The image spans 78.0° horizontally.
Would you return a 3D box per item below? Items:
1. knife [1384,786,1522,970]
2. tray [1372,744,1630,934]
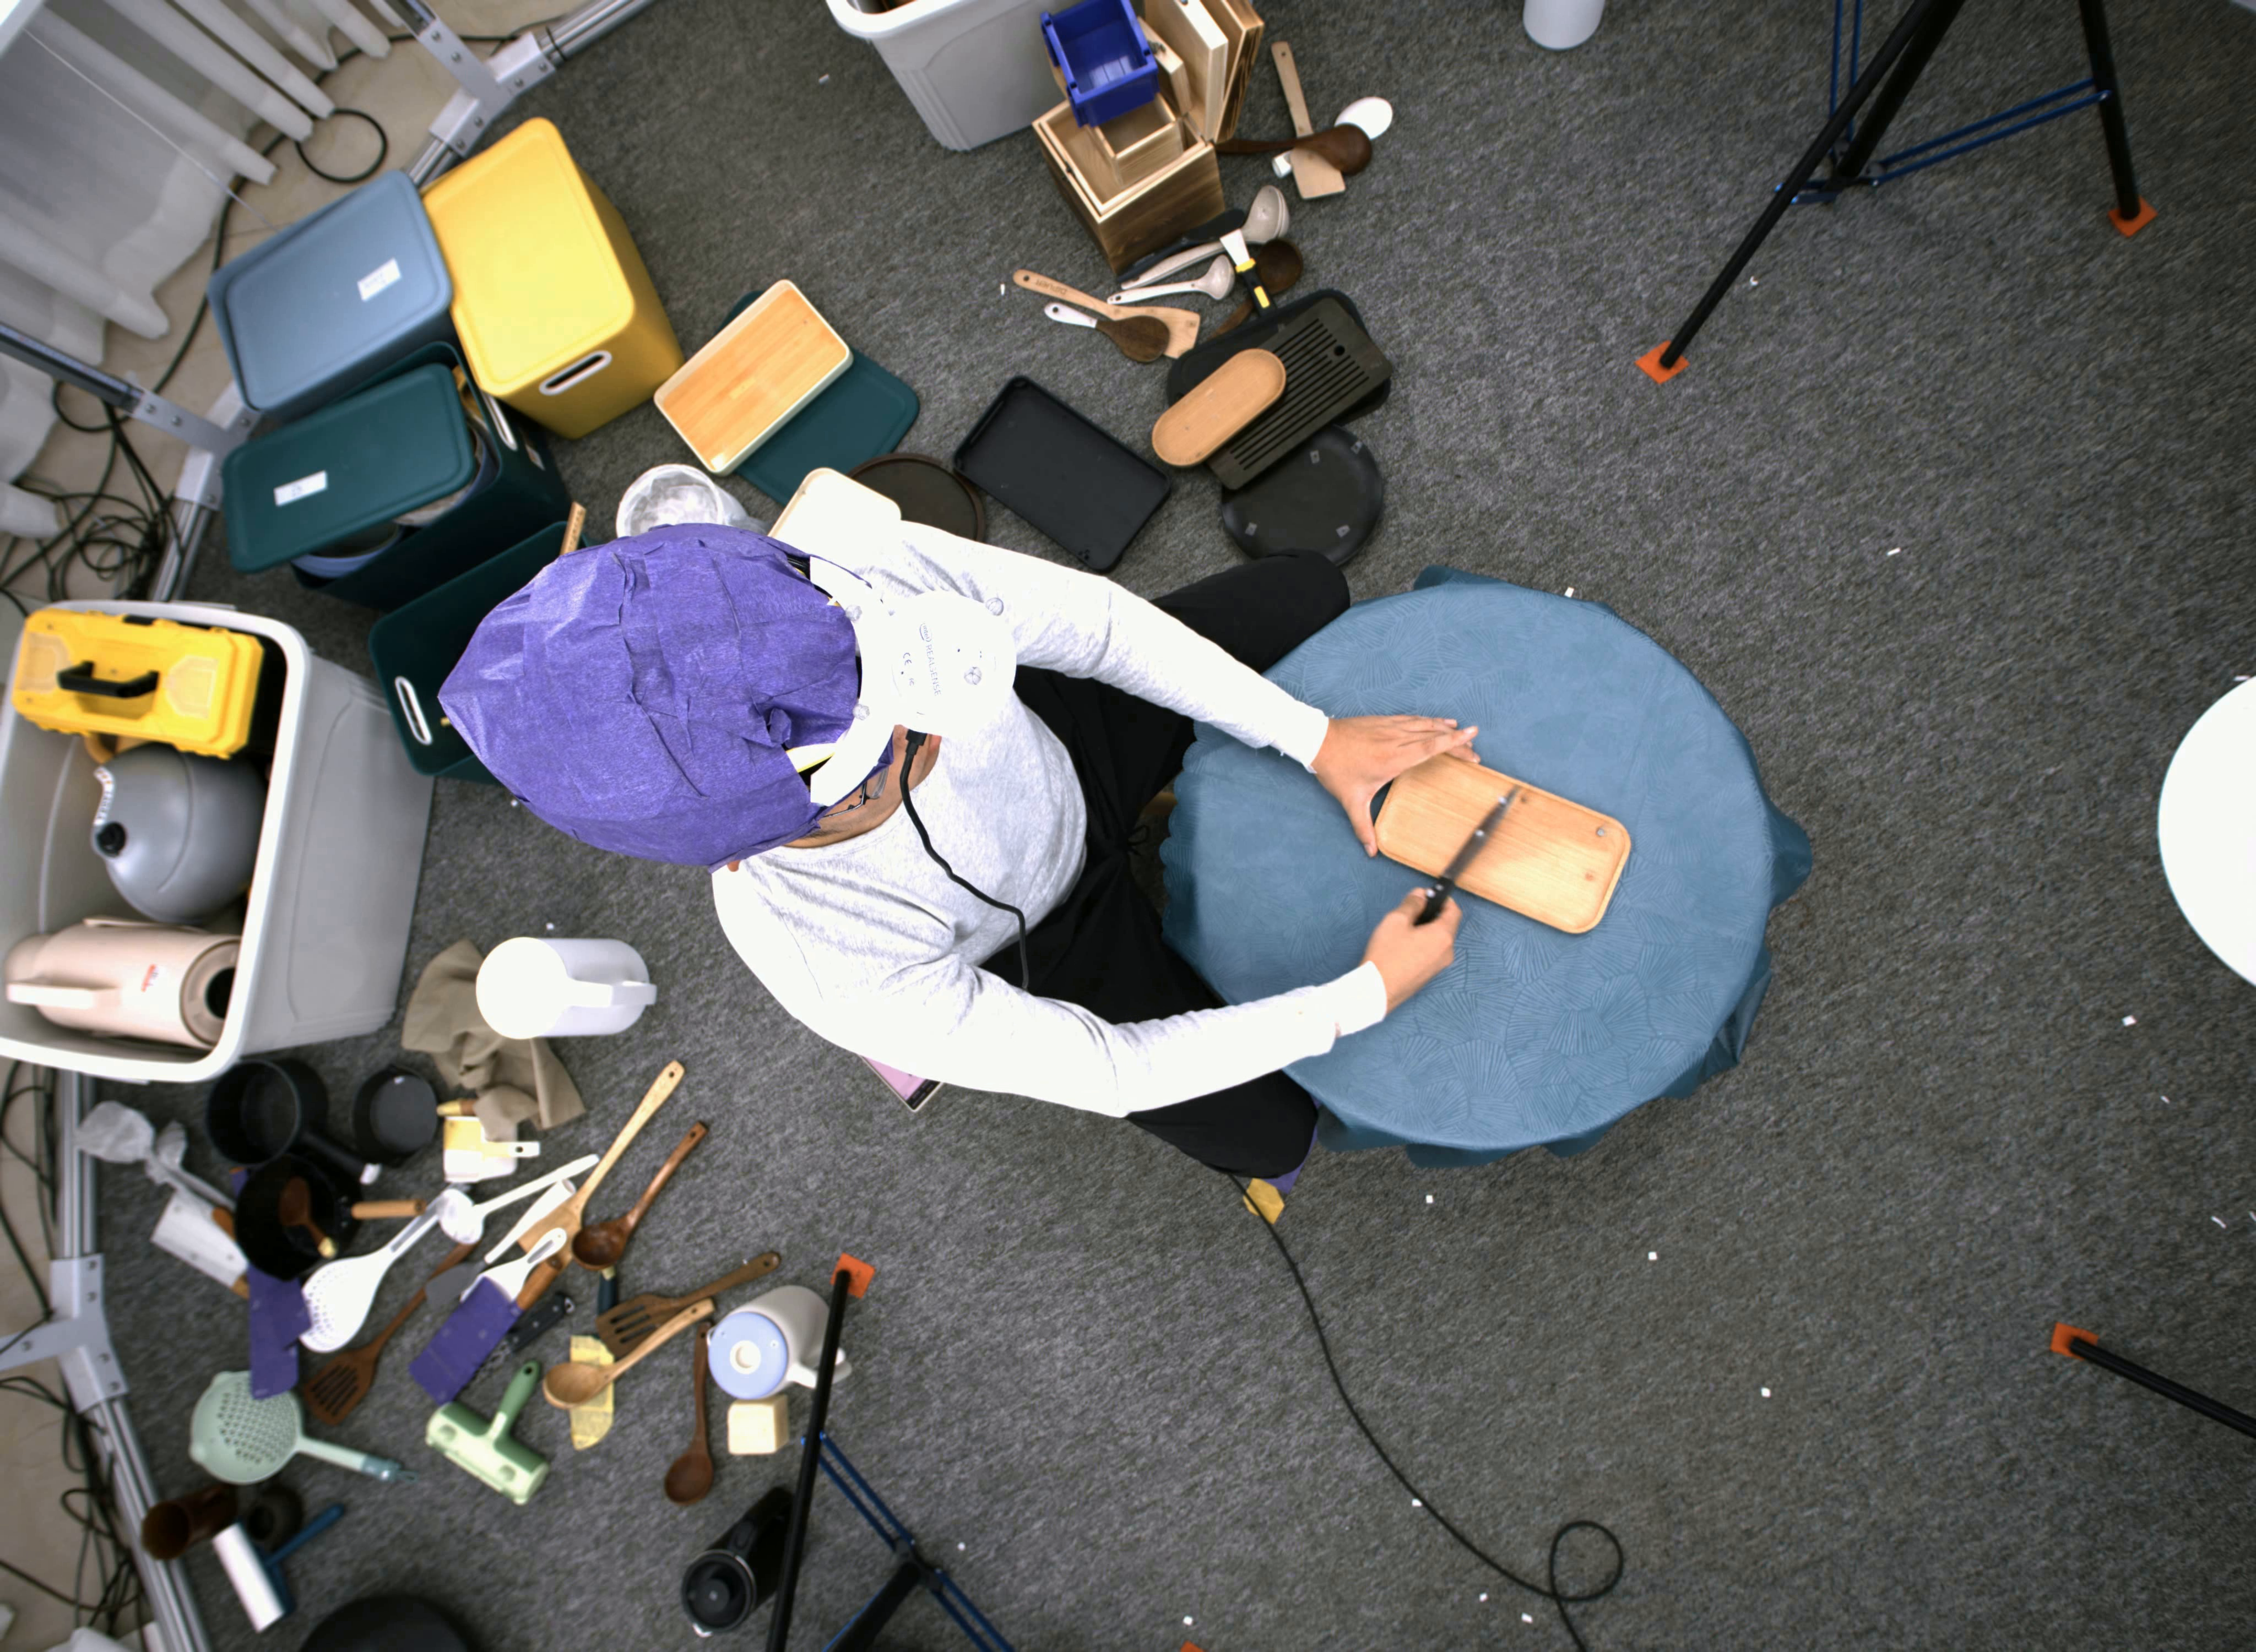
[{"bbox_3d":[0.337,0.050,1.406,0.237,0.016,0.024,-52,40,-6],"label":"knife"},{"bbox_3d":[0.387,0.010,1.433,0.250,0.023,0.130,24,89,12],"label":"tray"}]
